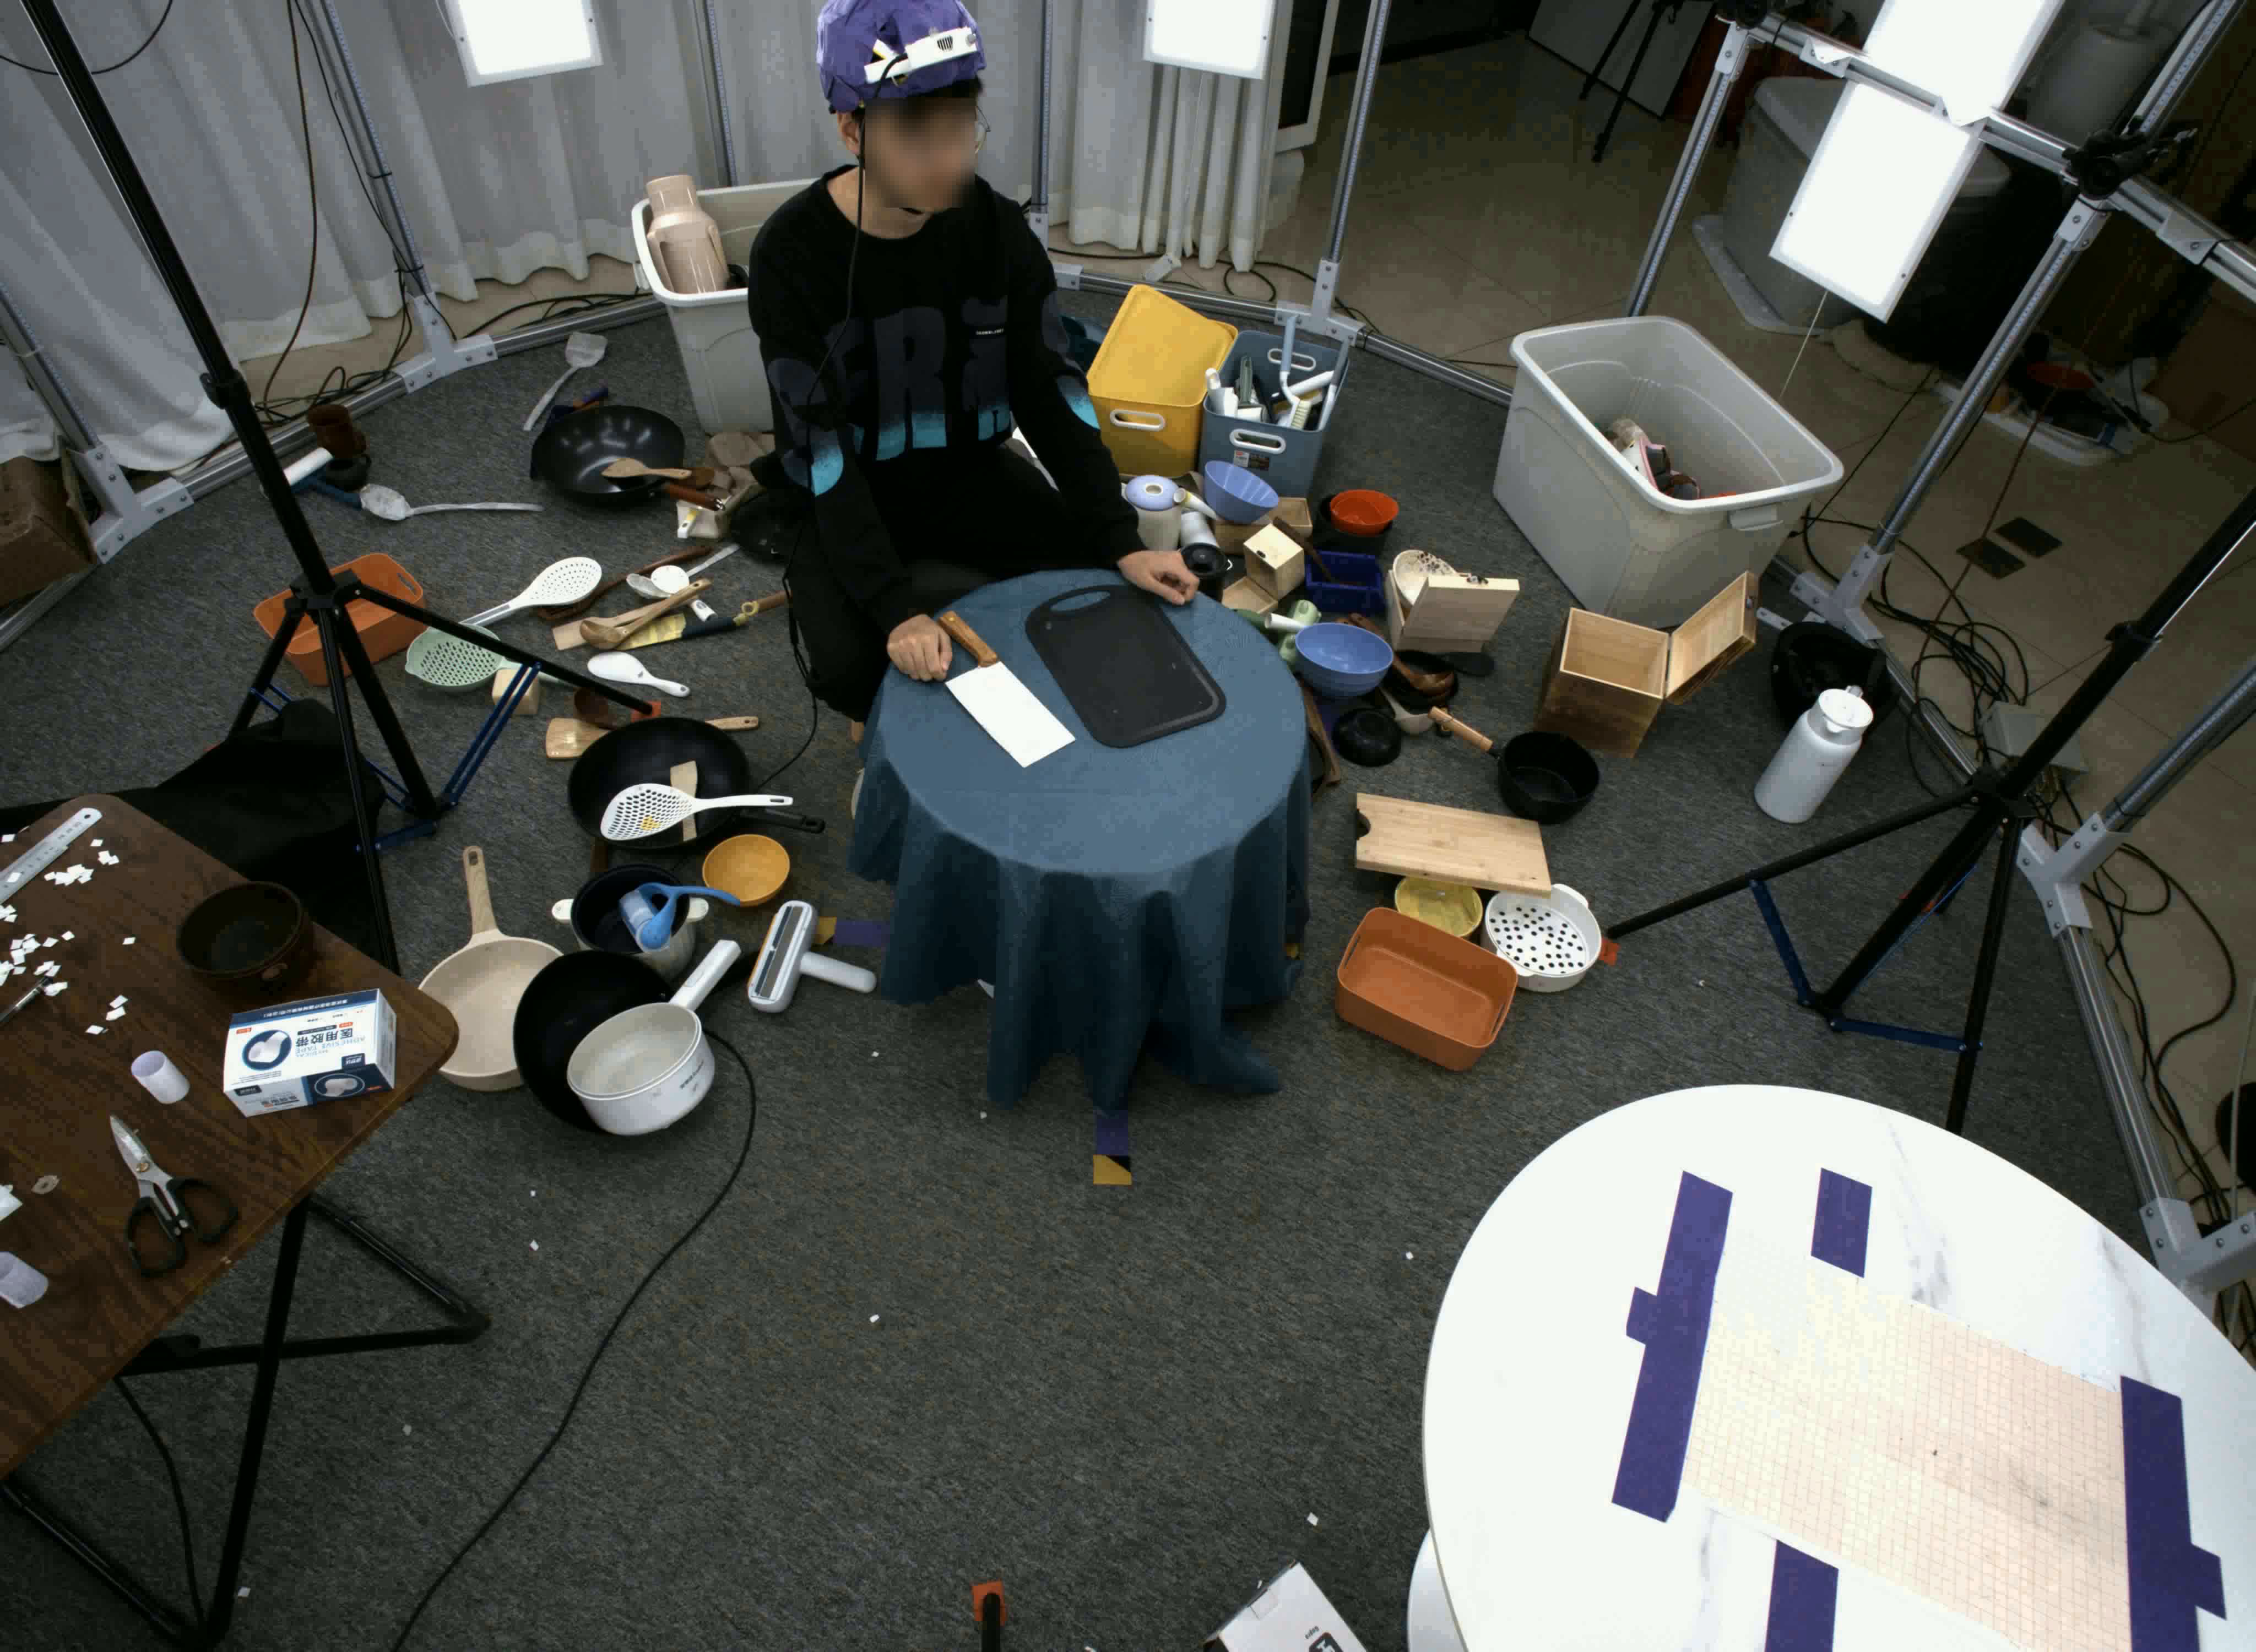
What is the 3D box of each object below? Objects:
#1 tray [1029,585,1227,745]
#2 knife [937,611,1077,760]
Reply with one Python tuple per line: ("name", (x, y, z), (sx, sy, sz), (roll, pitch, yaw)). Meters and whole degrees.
("tray", (-0.008, -0.247, 1.878), (0.211, 0.009, 0.333), (-18, 53, -18))
("knife", (-0.195, -0.199, 1.818), (0.093, 0.020, 0.311), (-30, 59, -25))
